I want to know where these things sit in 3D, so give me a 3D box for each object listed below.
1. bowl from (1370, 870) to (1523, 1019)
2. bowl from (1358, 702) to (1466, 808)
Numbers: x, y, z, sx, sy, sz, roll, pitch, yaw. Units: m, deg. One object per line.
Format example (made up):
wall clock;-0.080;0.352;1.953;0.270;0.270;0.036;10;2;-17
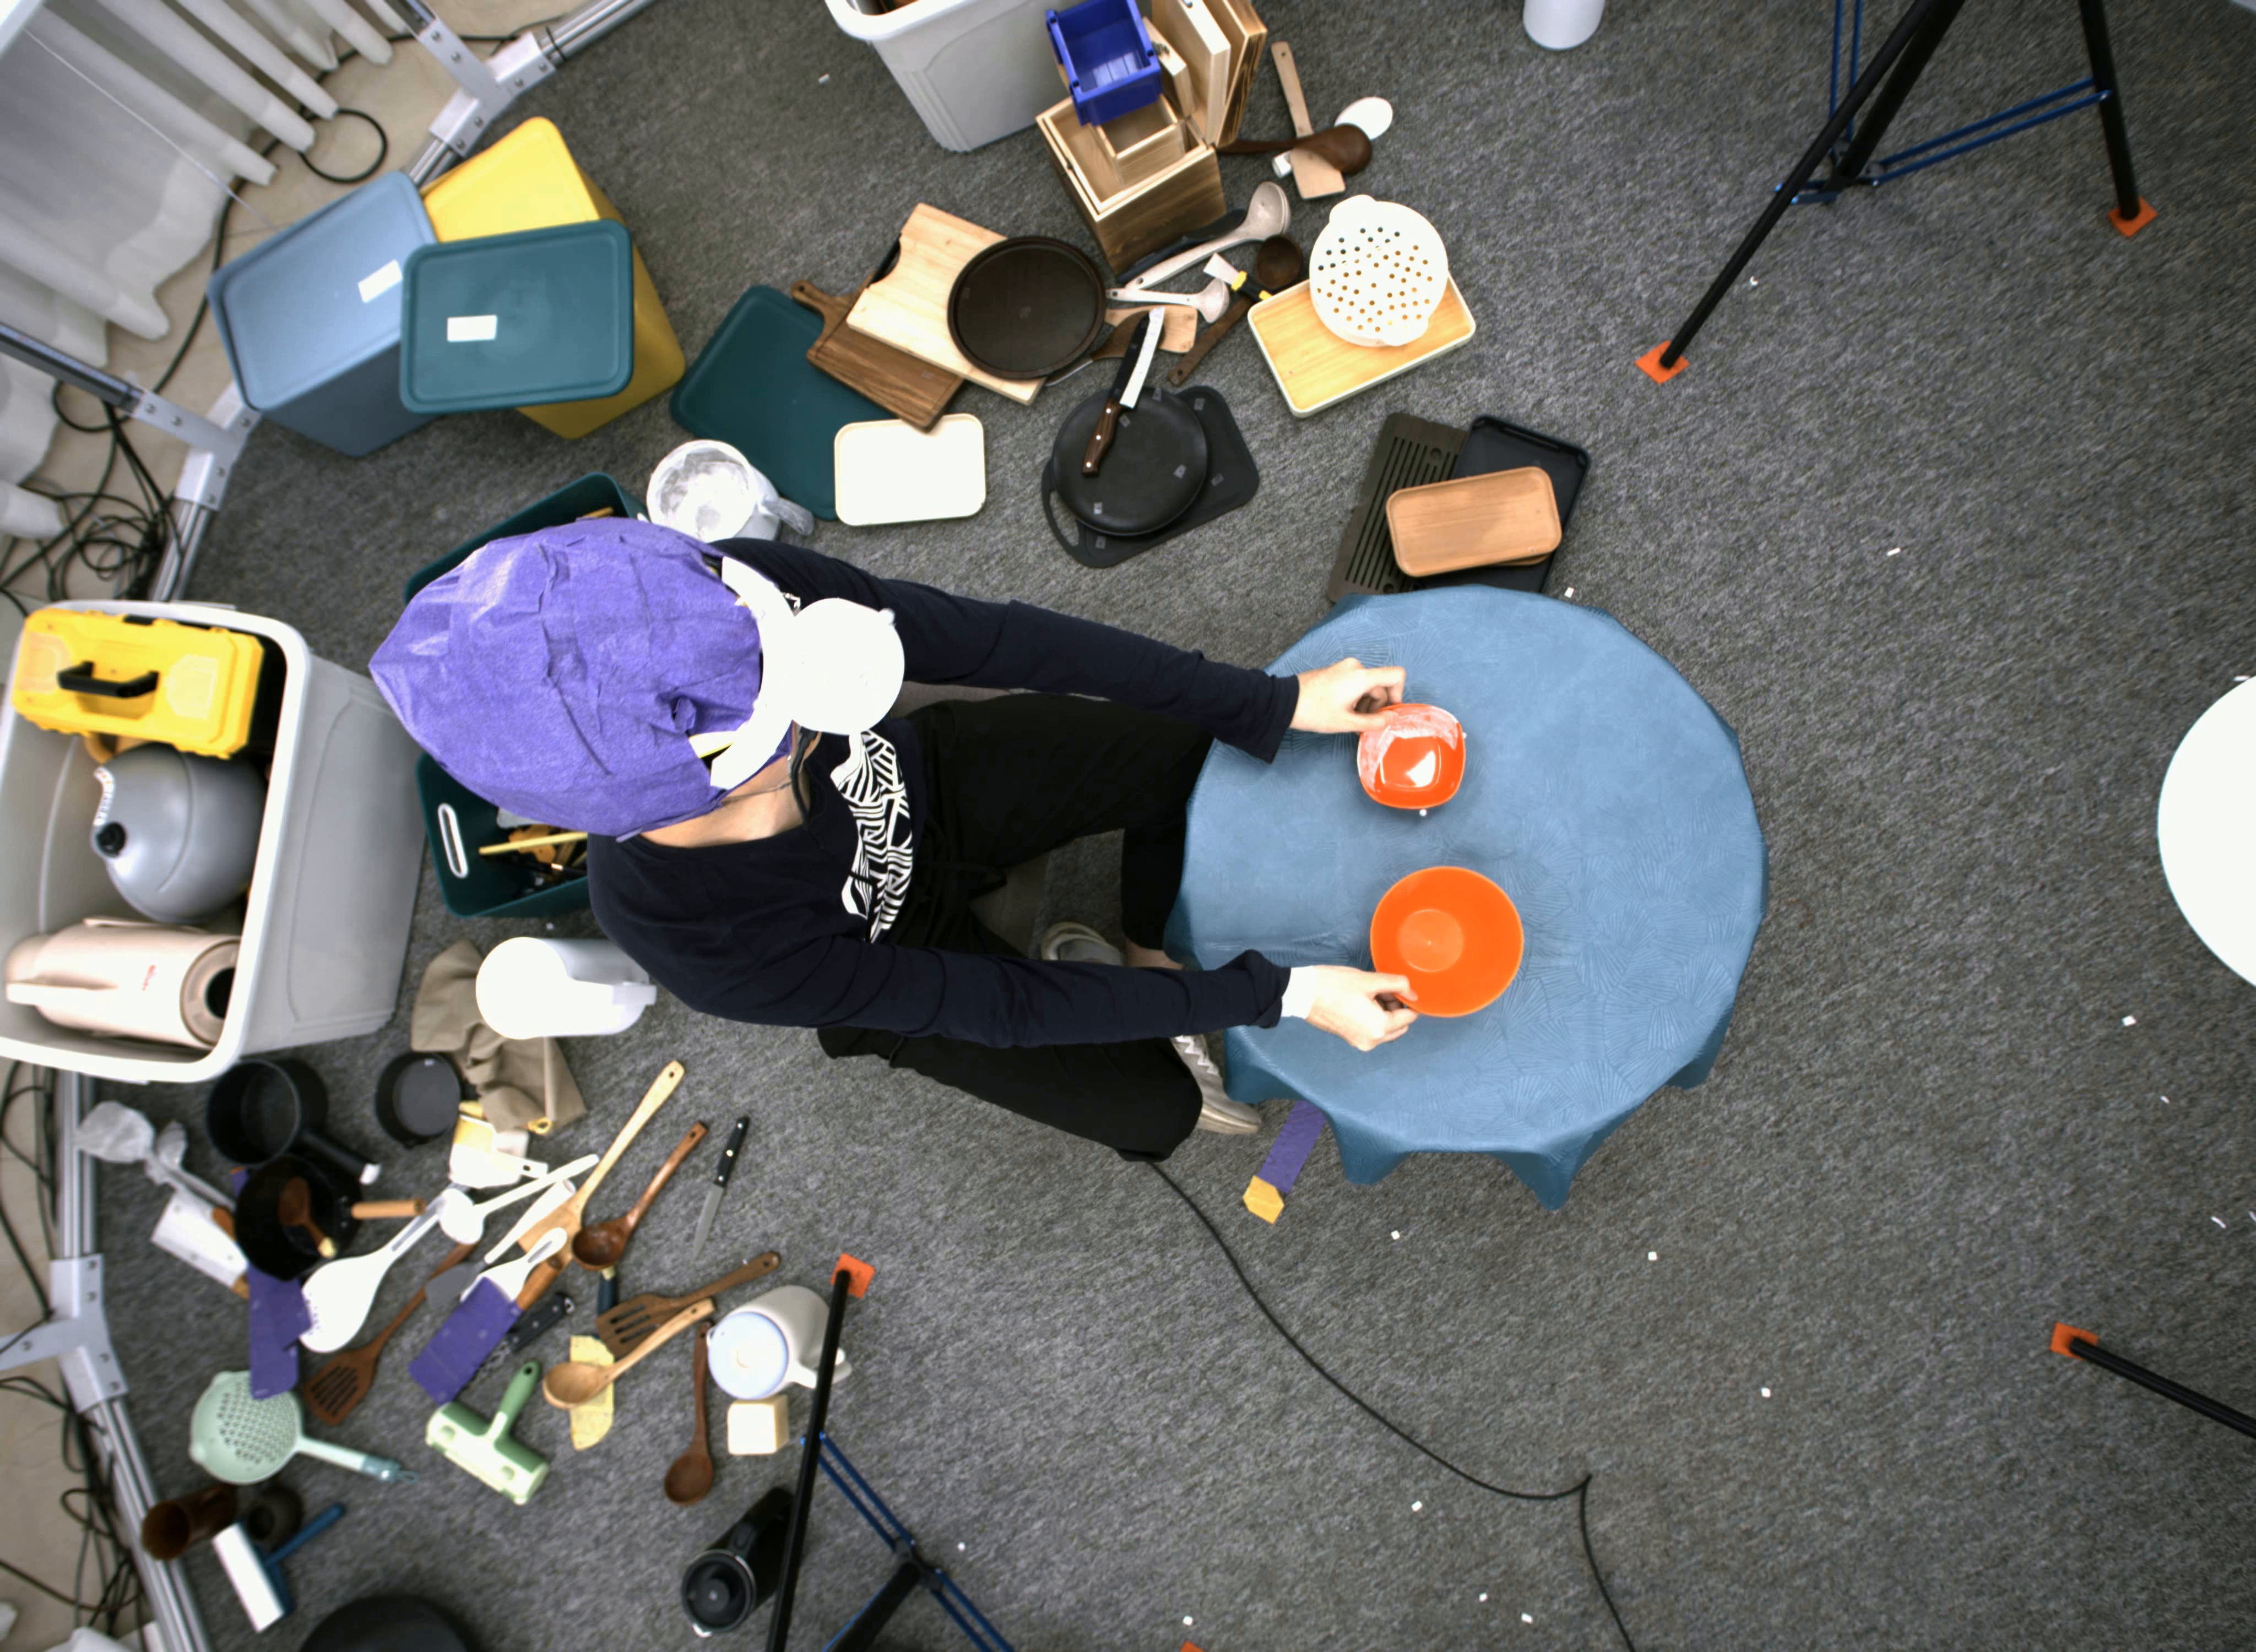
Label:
bowl;0.319;0.118;1.397;0.148;0.104;0.147;-1;86;10
bowl;0.295;-0.072;1.436;0.119;0.051;0.118;-1;87;8
